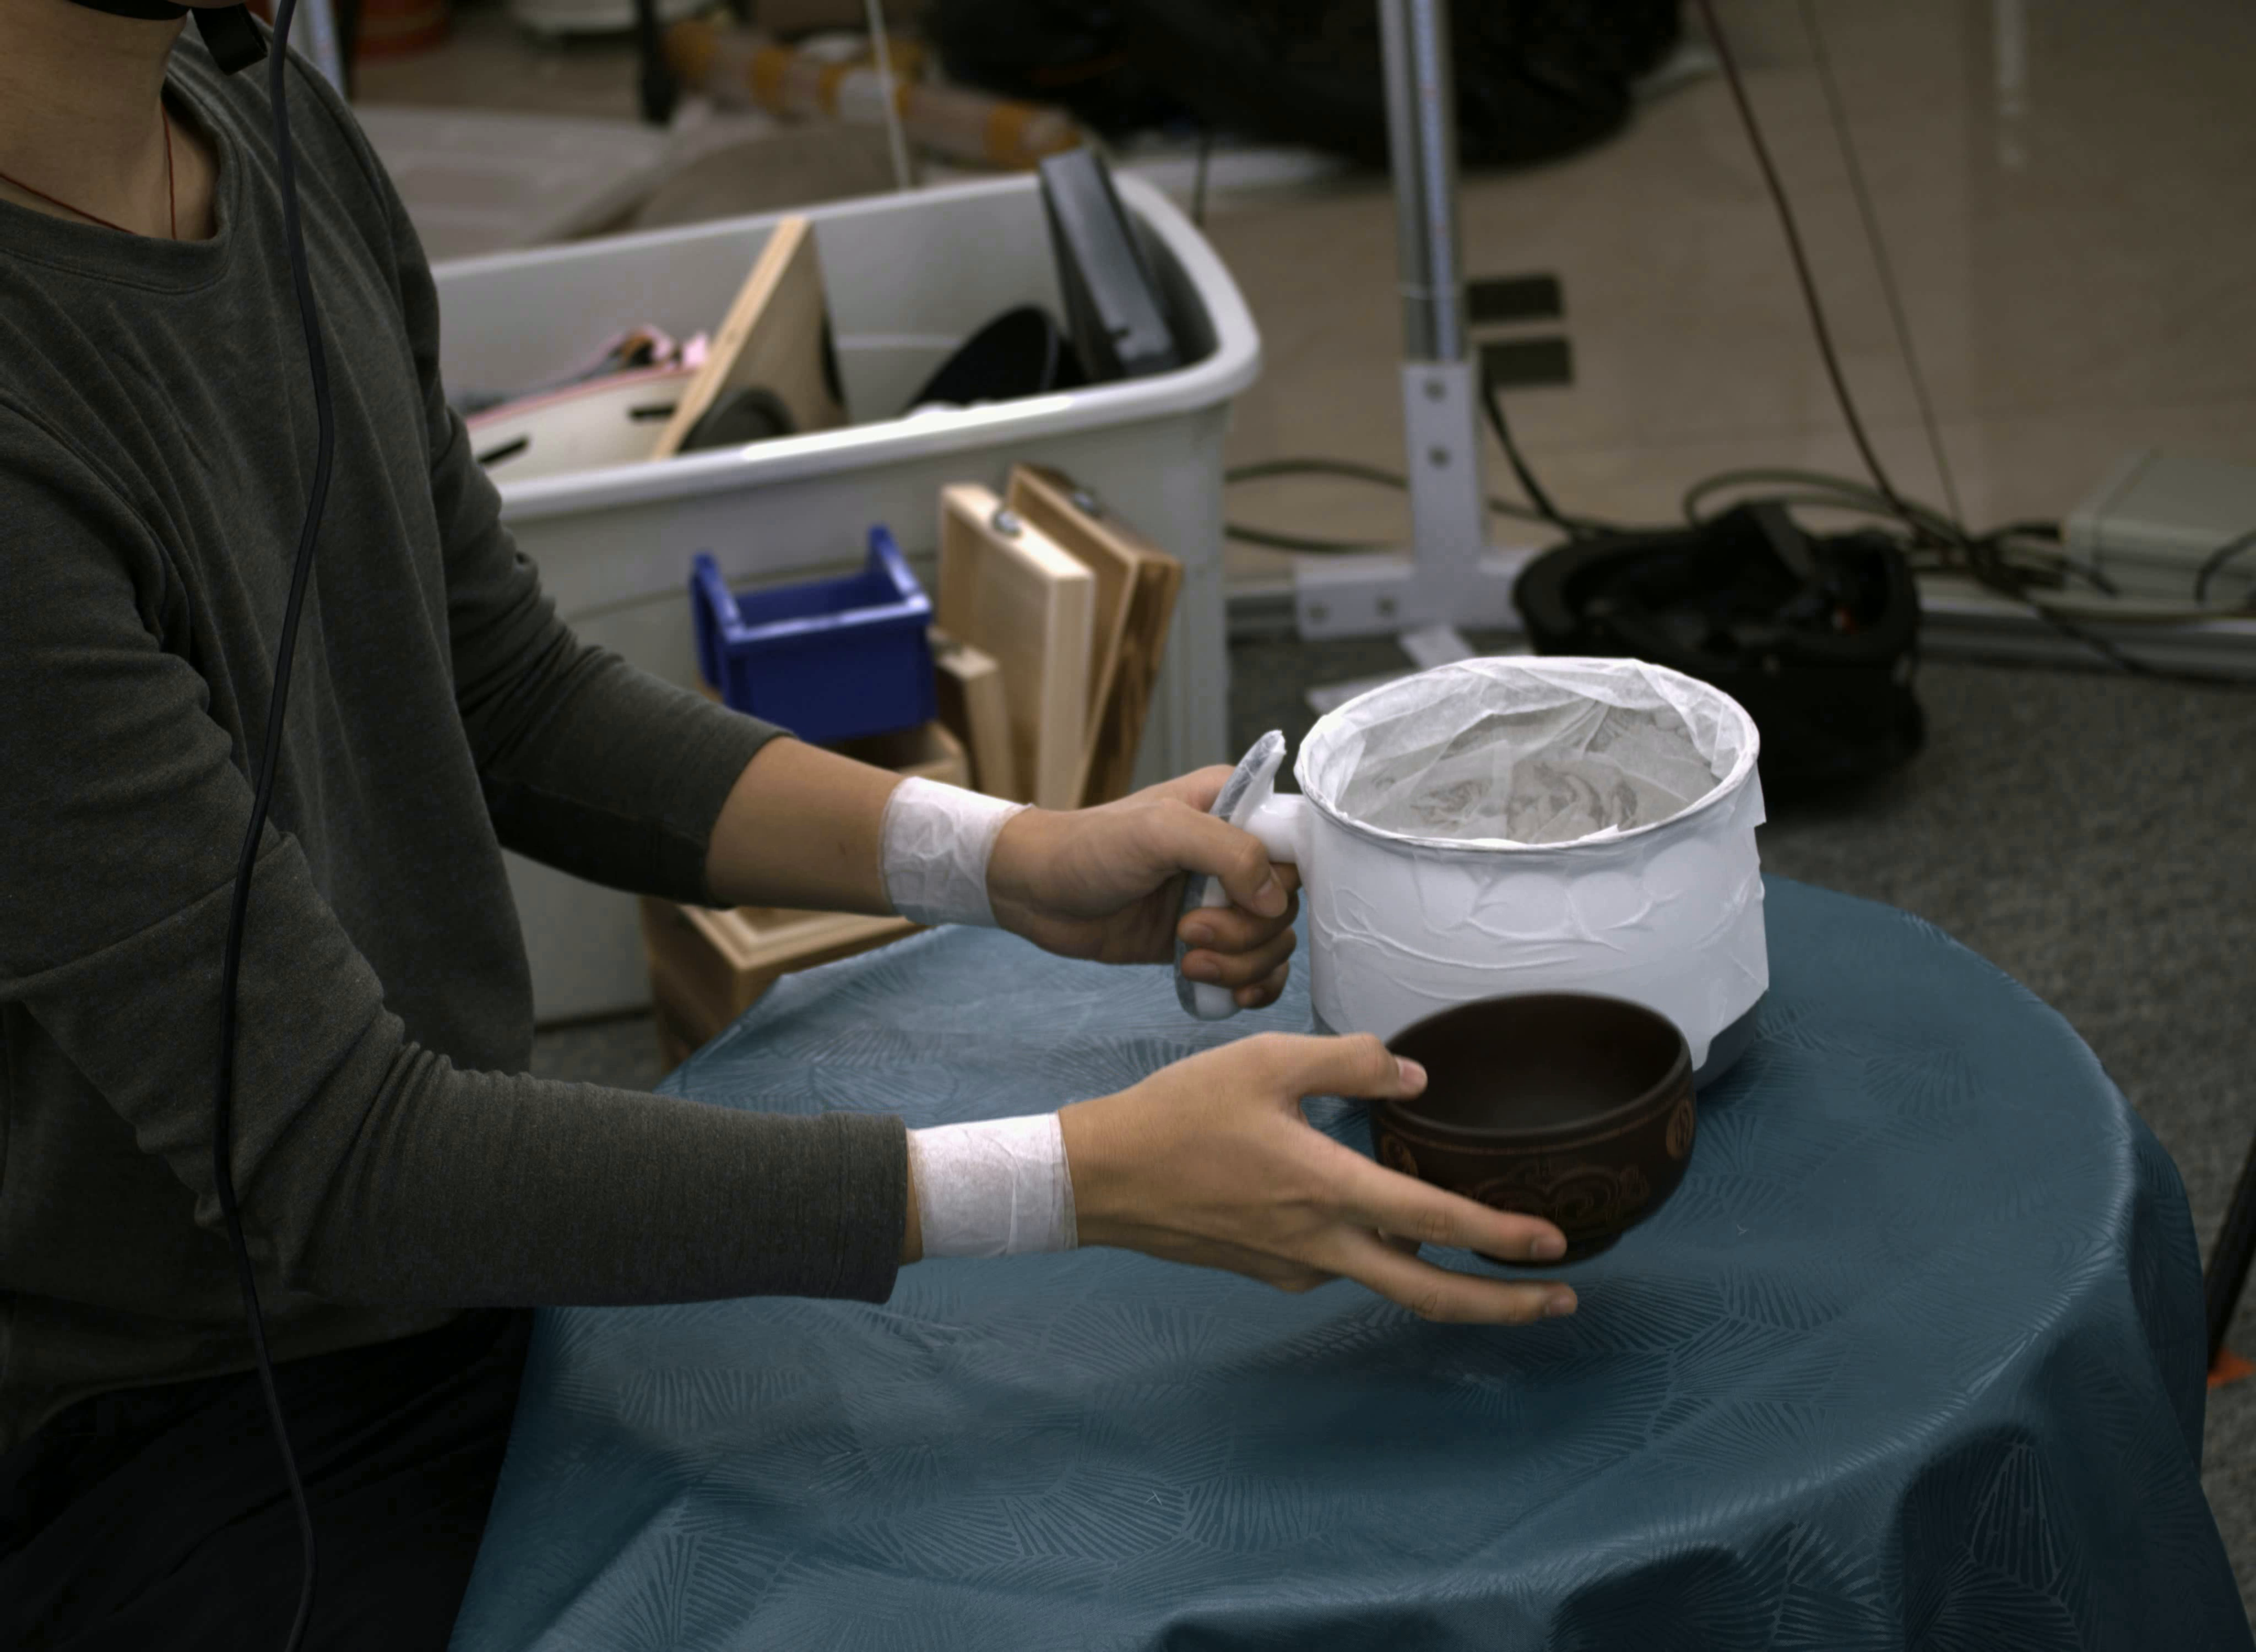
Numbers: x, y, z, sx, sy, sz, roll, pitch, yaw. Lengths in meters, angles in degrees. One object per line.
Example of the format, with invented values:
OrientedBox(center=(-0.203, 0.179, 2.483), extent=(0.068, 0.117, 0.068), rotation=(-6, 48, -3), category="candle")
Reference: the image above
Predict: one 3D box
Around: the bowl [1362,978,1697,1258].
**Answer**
OrientedBox(center=(0.144, 0.110, 2.009), extent=(0.118, 0.071, 0.116), rotation=(-8, 24, 4), category="bowl")

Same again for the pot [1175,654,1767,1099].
OrientedBox(center=(0.130, 0.026, 2.190), extent=(0.233, 0.139, 0.176), rotation=(1, 26, 13), category="pot")
